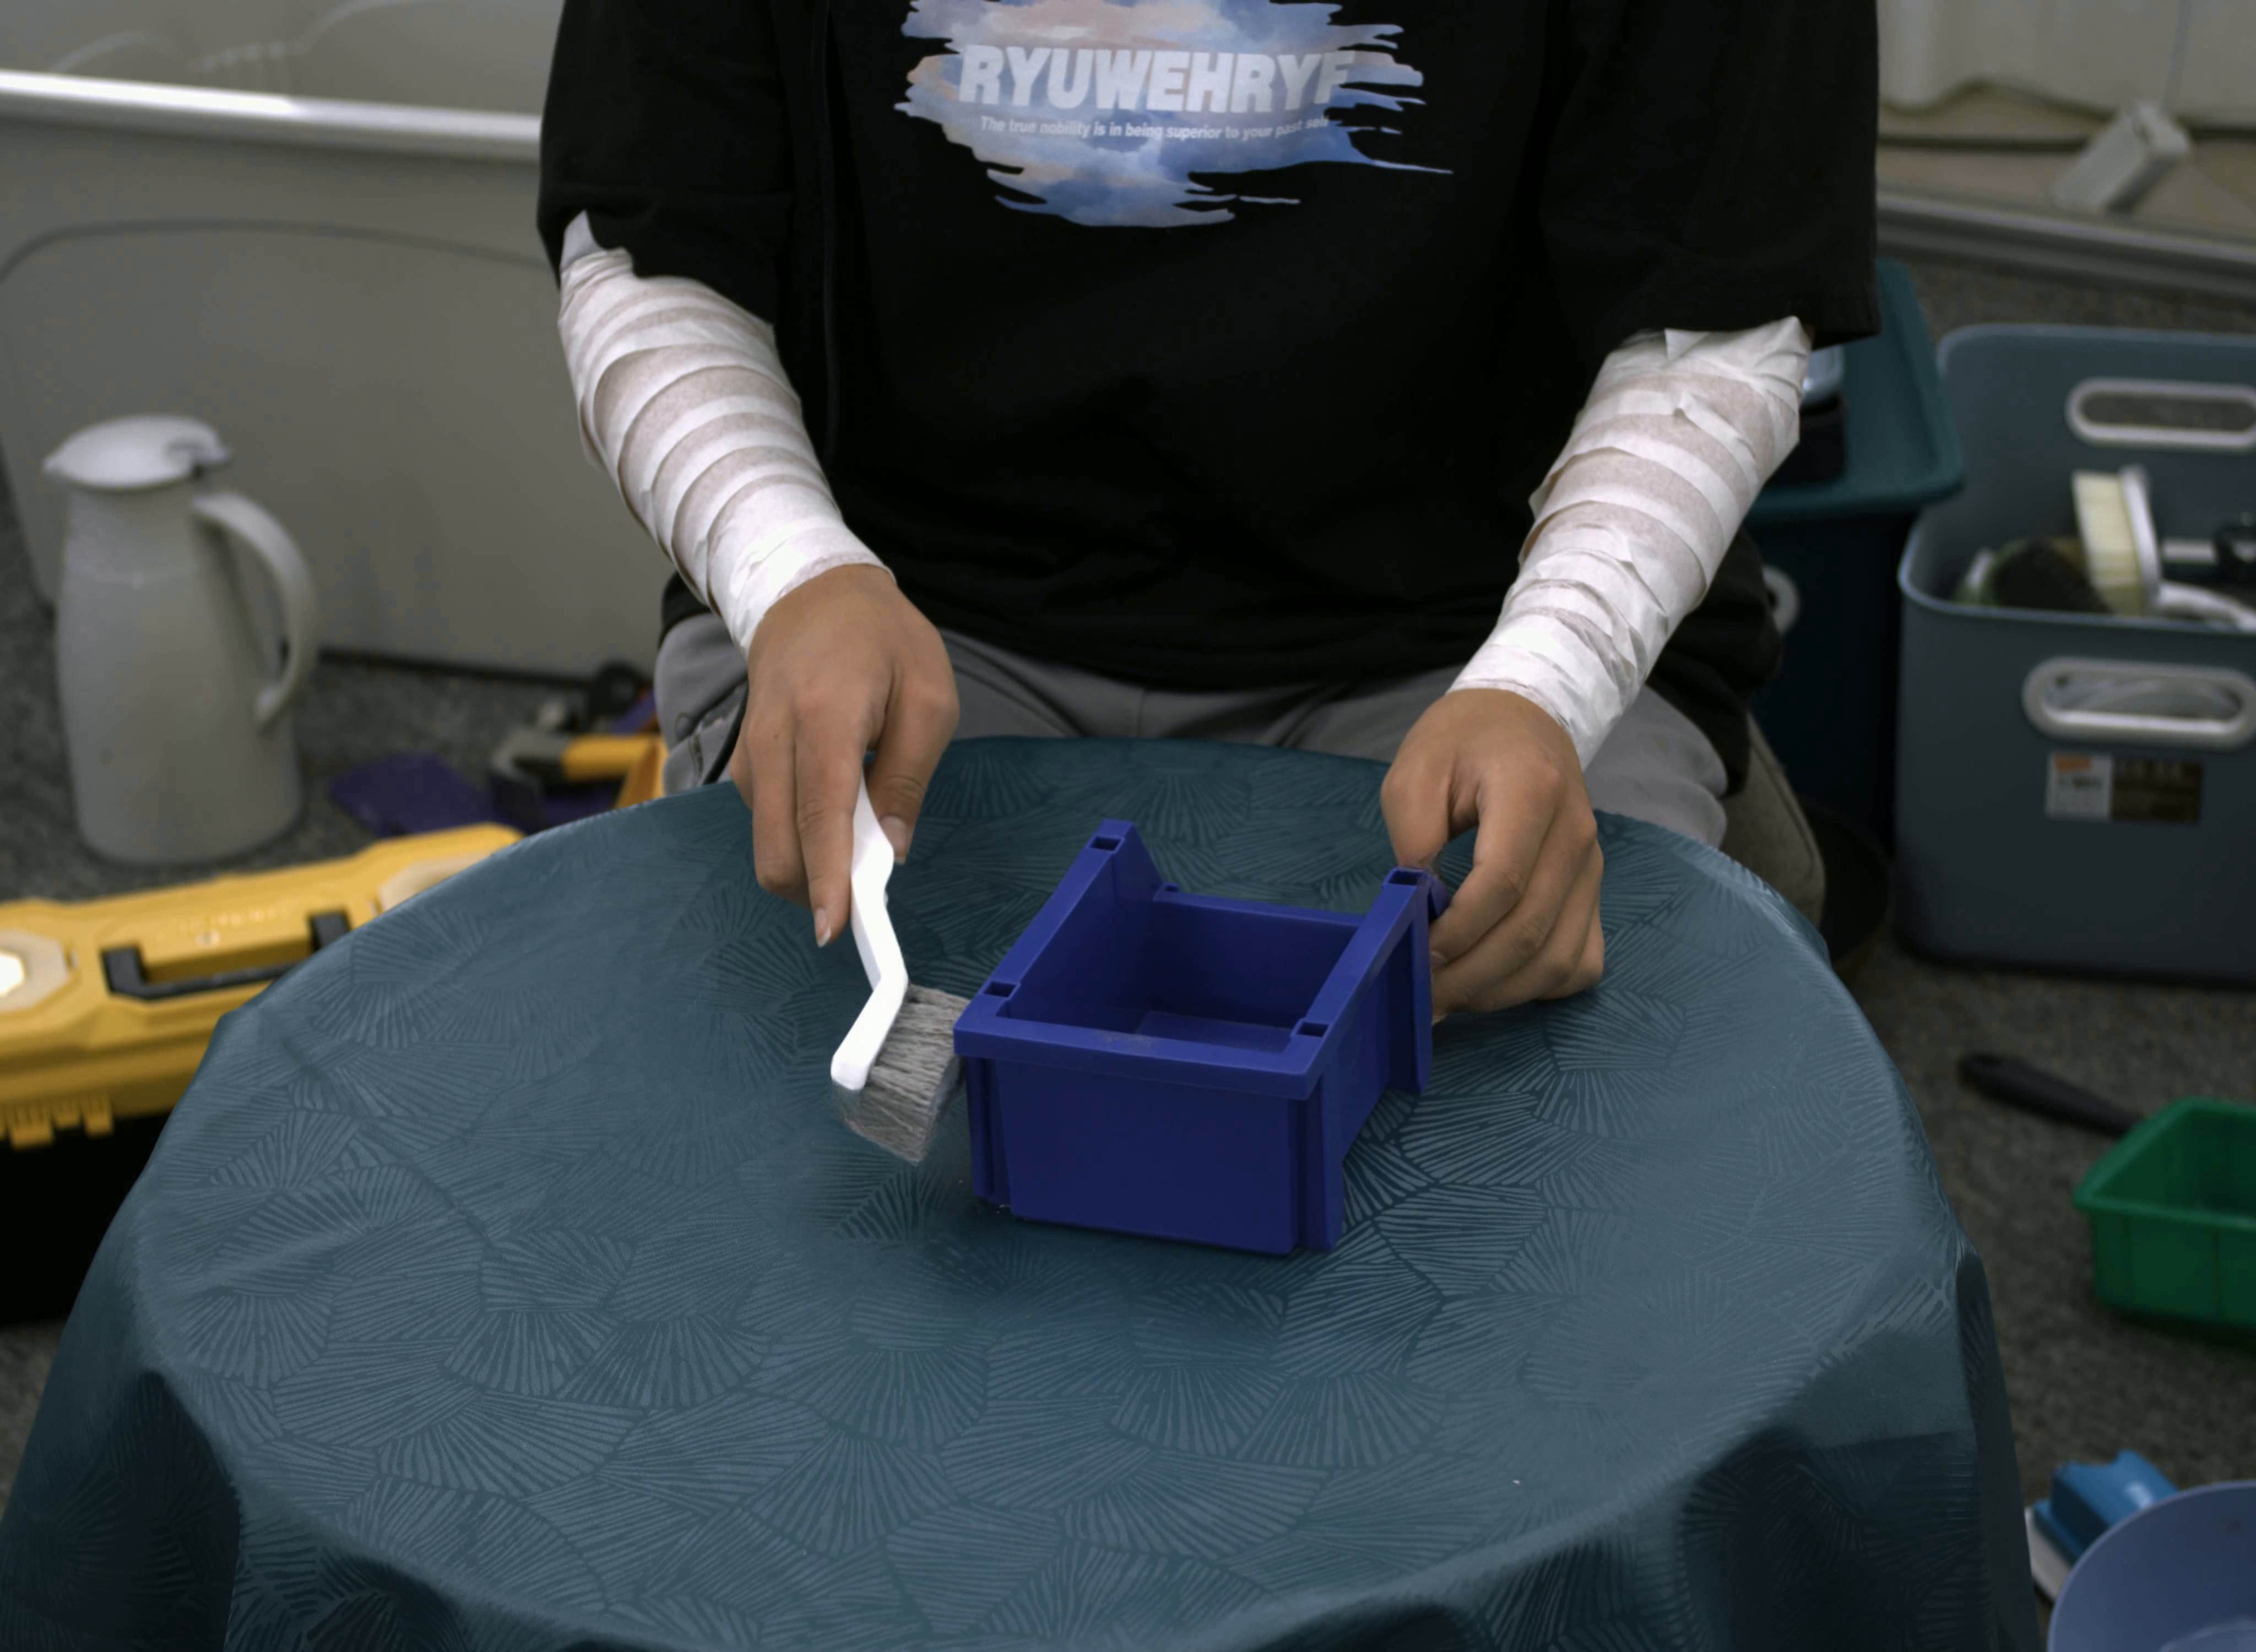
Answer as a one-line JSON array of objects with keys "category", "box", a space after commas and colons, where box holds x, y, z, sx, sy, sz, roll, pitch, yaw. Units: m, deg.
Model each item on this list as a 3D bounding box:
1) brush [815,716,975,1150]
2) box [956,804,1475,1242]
[{"category": "brush", "box": [-0.077, 0.032, 1.920, 0.050, 0.034, 0.247, 10, 29, -6]}, {"category": "box", "box": [0.031, 0.061, 1.889, 0.123, 0.081, 0.182, 7, 30, 19]}]
